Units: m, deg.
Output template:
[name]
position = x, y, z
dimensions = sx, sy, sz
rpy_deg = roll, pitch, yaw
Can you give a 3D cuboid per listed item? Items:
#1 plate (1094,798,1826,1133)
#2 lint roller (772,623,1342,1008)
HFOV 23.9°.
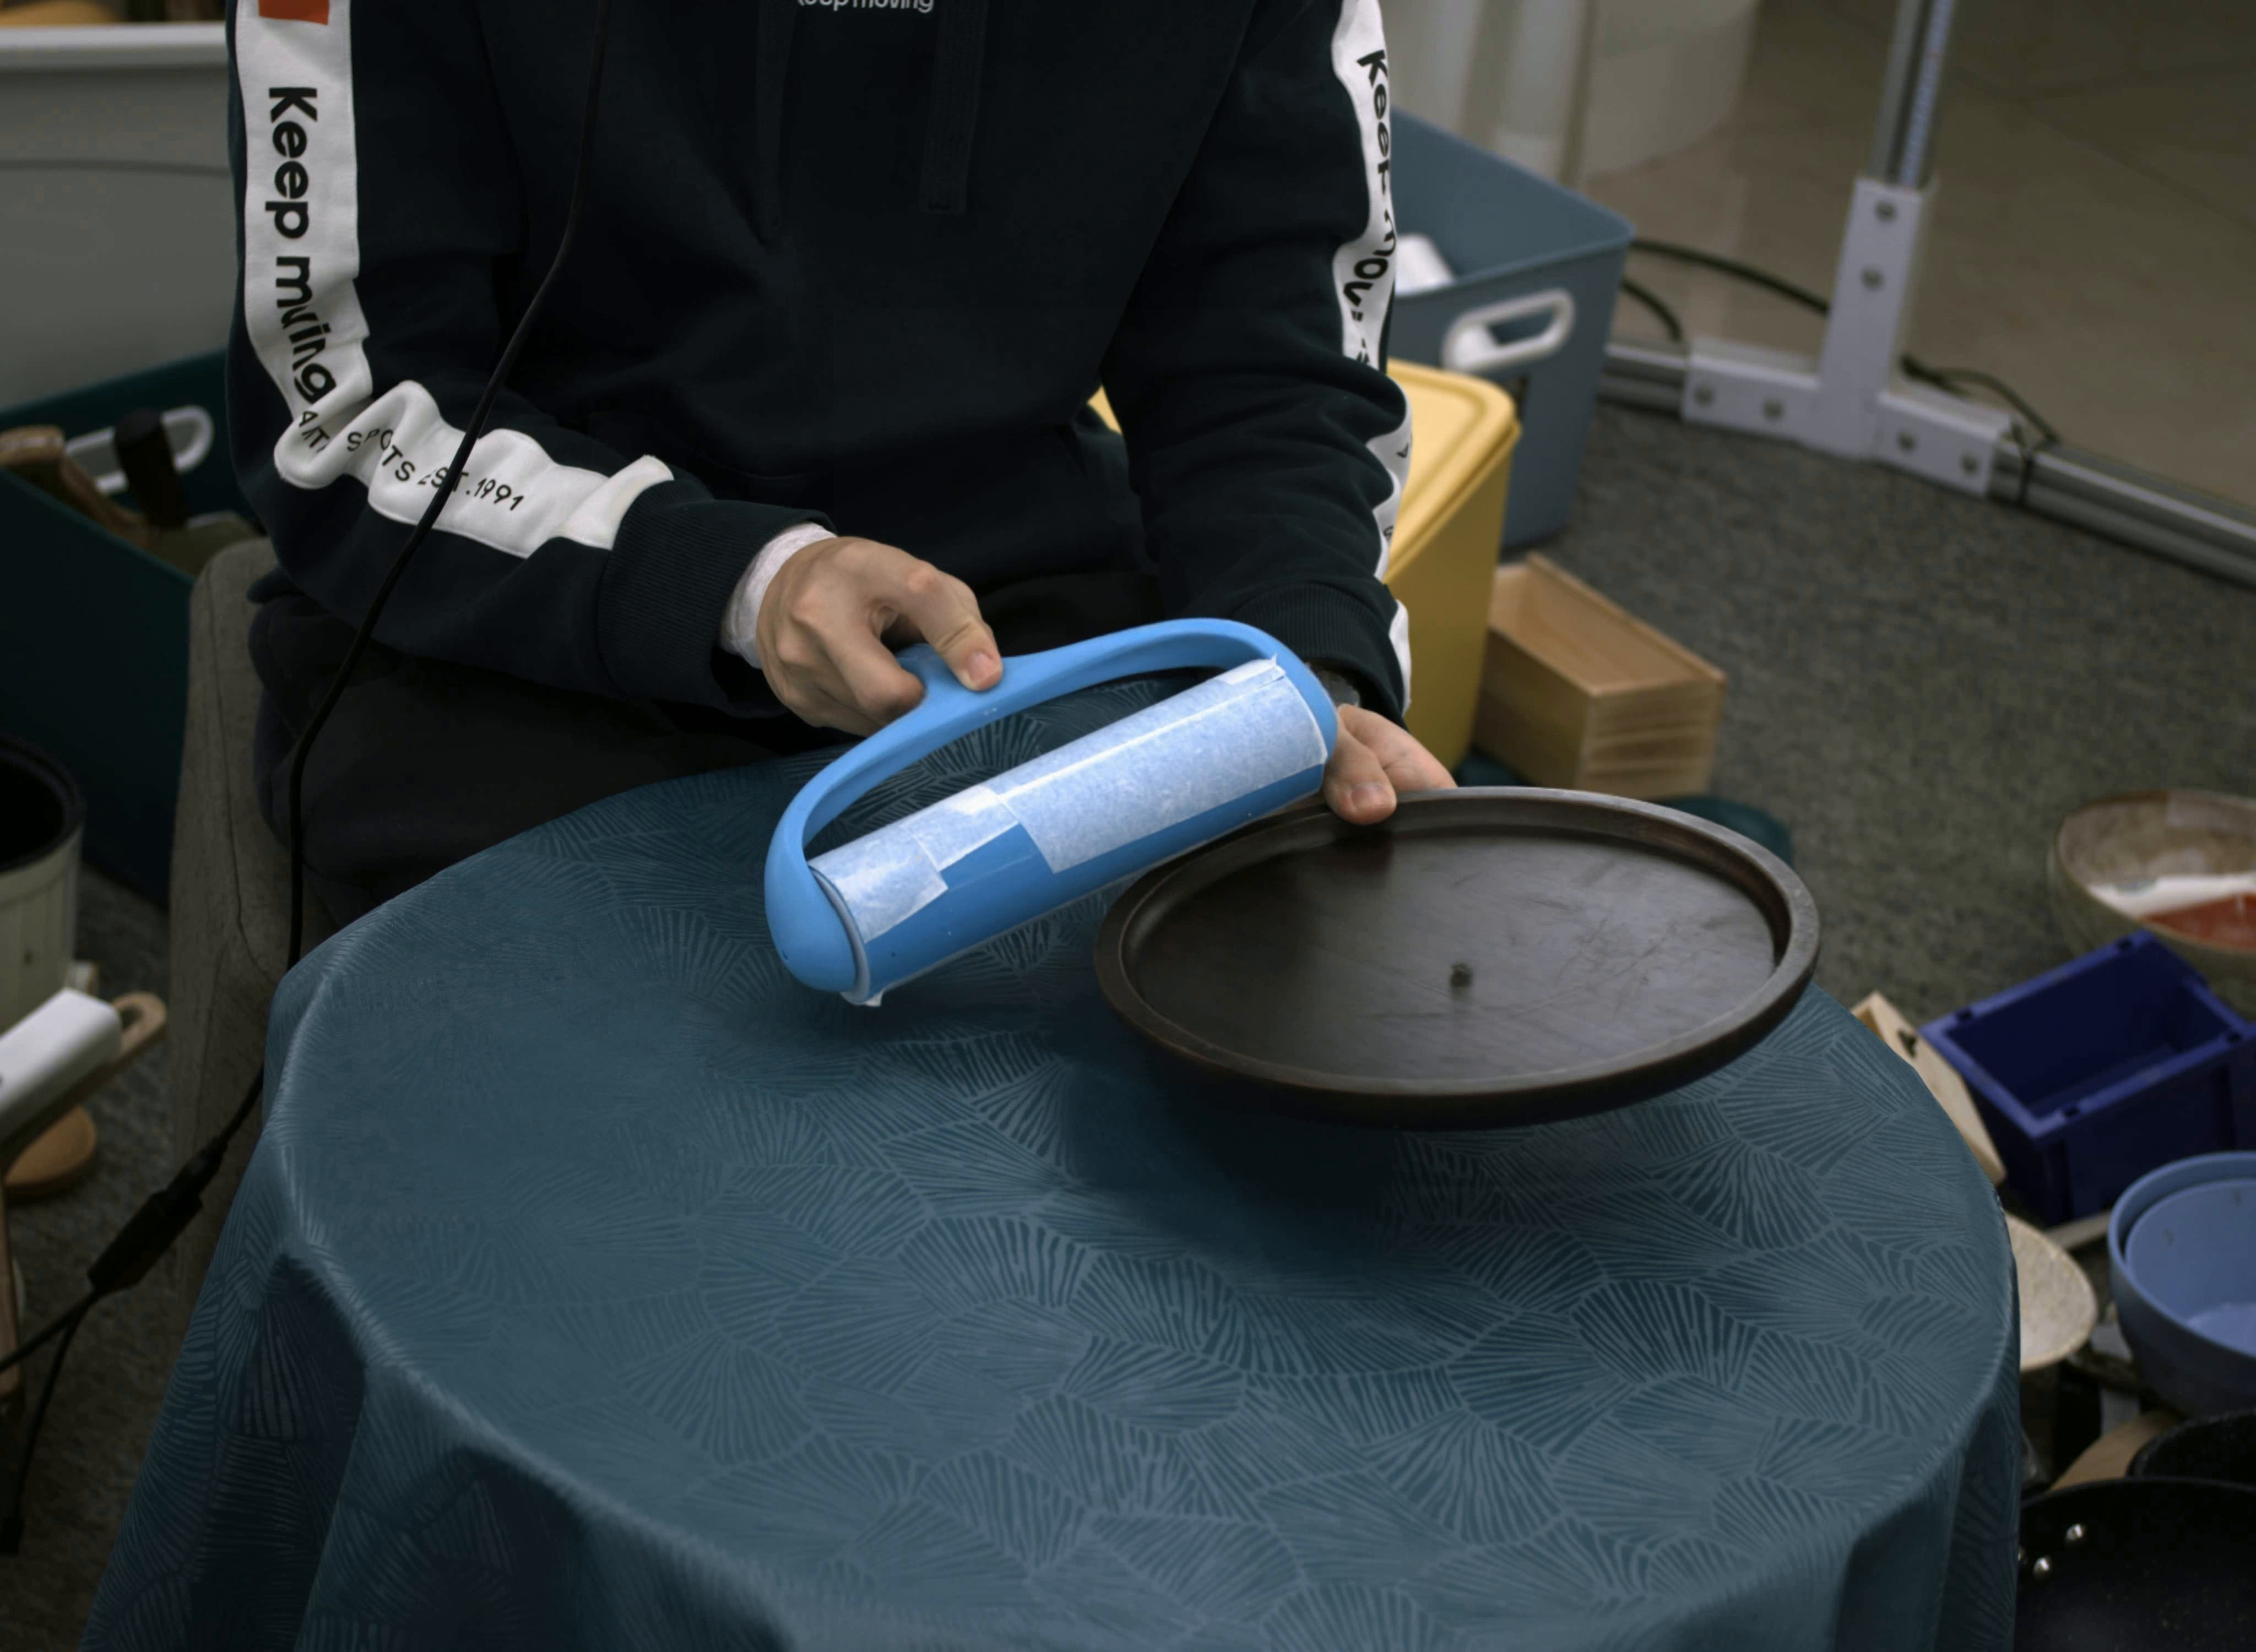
[plate]
position = 0.114, 0.046, 1.841
dimensions = 0.254, 0.029, 0.256
rpy_deg = -3, 23, 1
[lint roller]
position = -0.056, -0.026, 1.934
dimensions = 0.228, 0.067, 0.182
rpy_deg = -27, 42, -23
